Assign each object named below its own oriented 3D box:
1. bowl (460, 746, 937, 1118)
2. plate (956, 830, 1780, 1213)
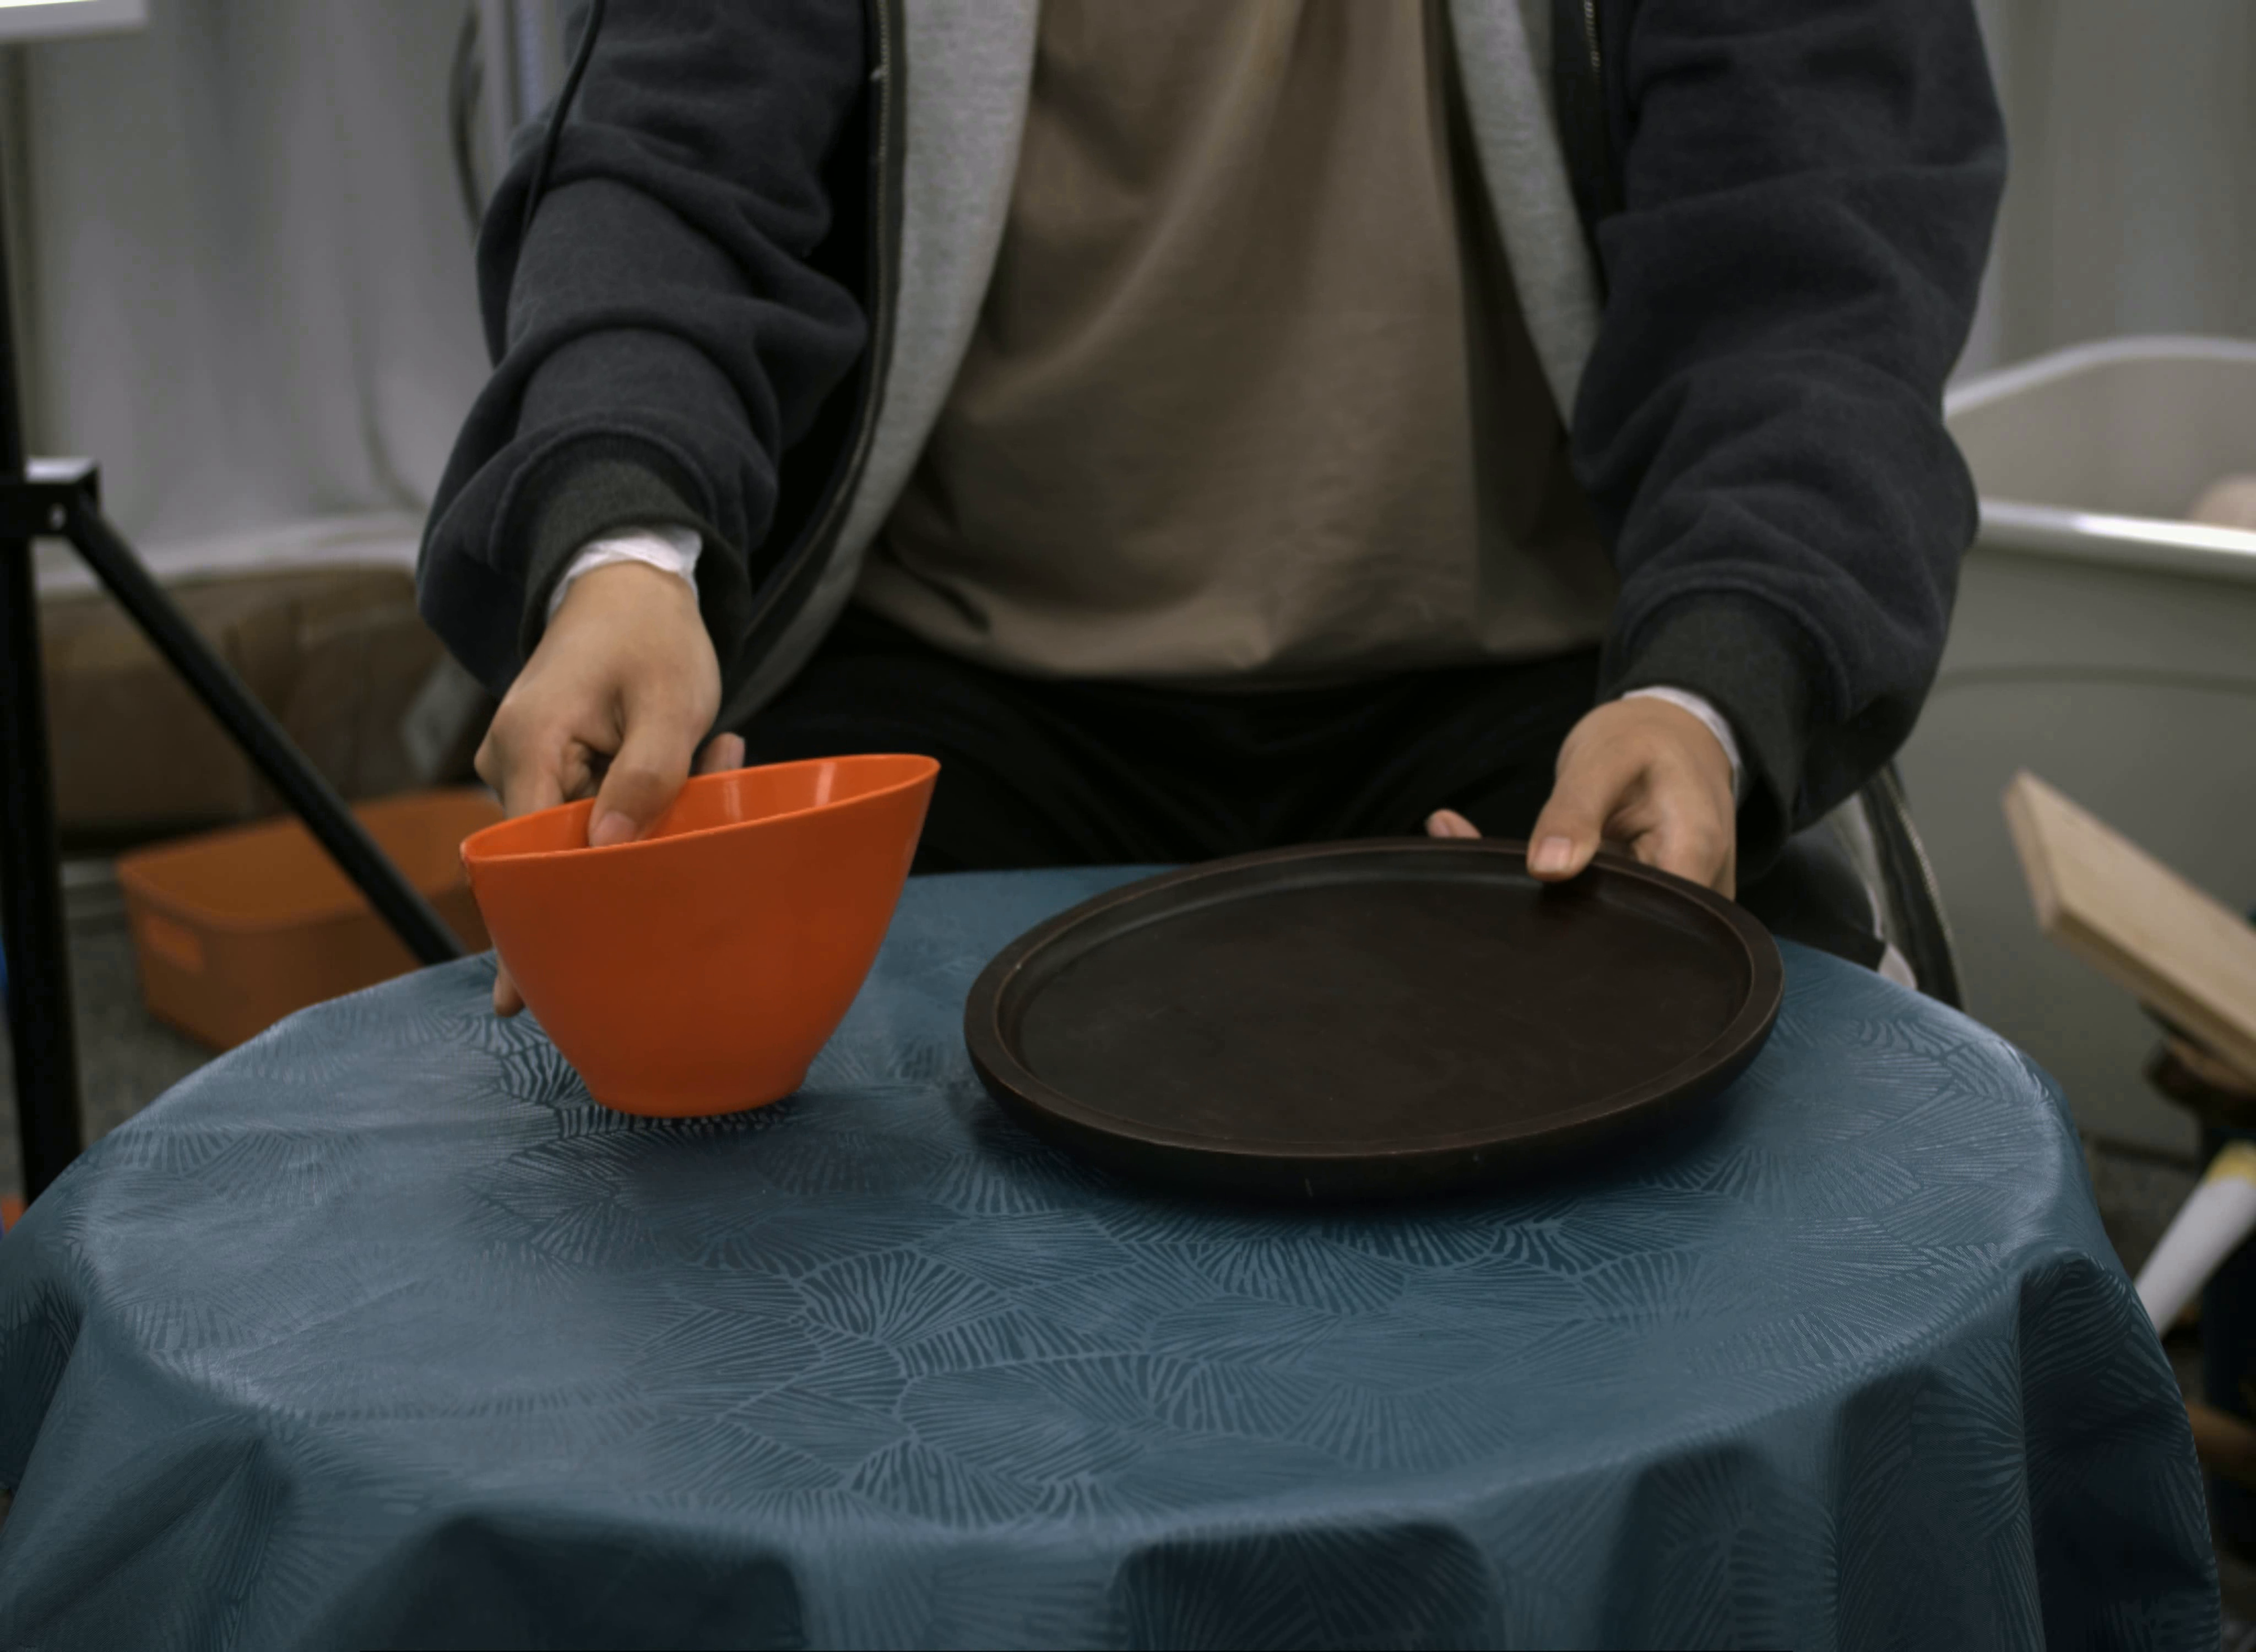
[{"bbox_3d":[-0.128,0.032,1.631,0.147,0.104,0.149,-4,16,0],"label":"bowl"},{"bbox_3d":[0.074,0.058,1.633,0.254,0.029,0.256,-6,21,1],"label":"plate"}]
